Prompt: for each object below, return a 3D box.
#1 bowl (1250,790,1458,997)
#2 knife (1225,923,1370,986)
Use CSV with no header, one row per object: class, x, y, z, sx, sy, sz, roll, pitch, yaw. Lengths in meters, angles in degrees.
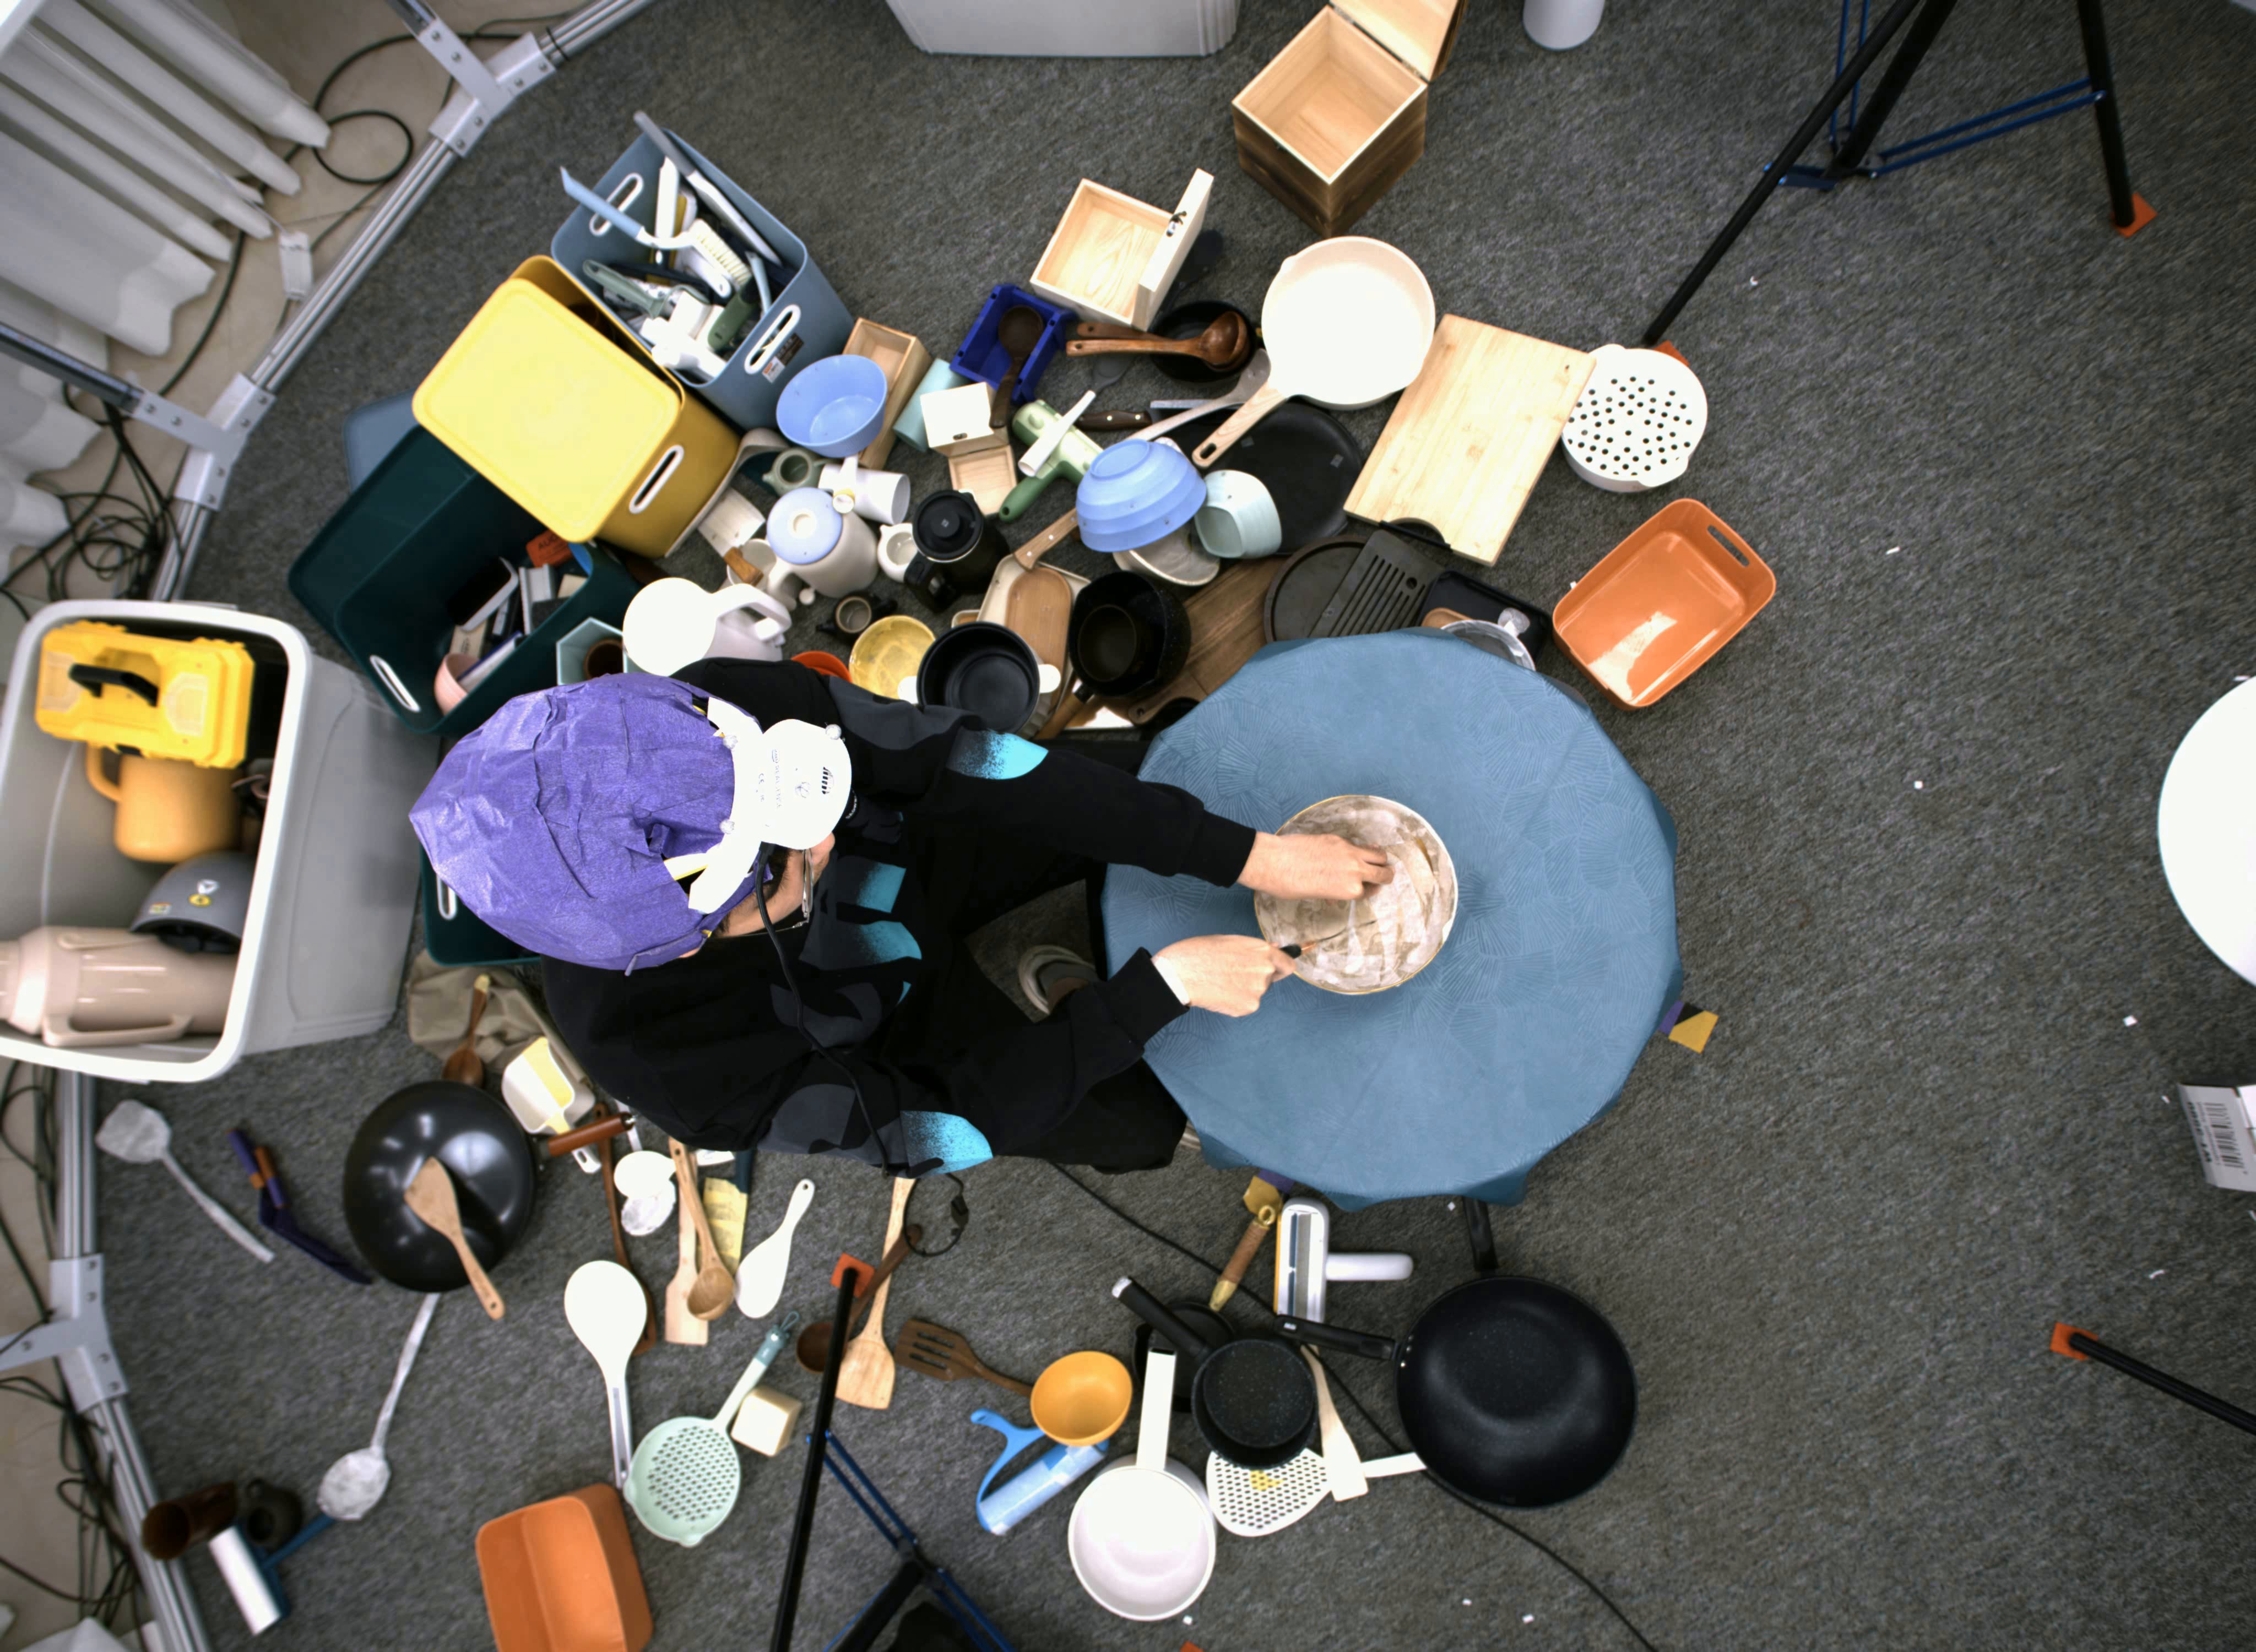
bowl,0.229,0.070,1.419,0.215,0.094,0.214,-1,87,10
knife,0.177,0.123,1.393,0.027,0.222,0.017,-42,70,48
